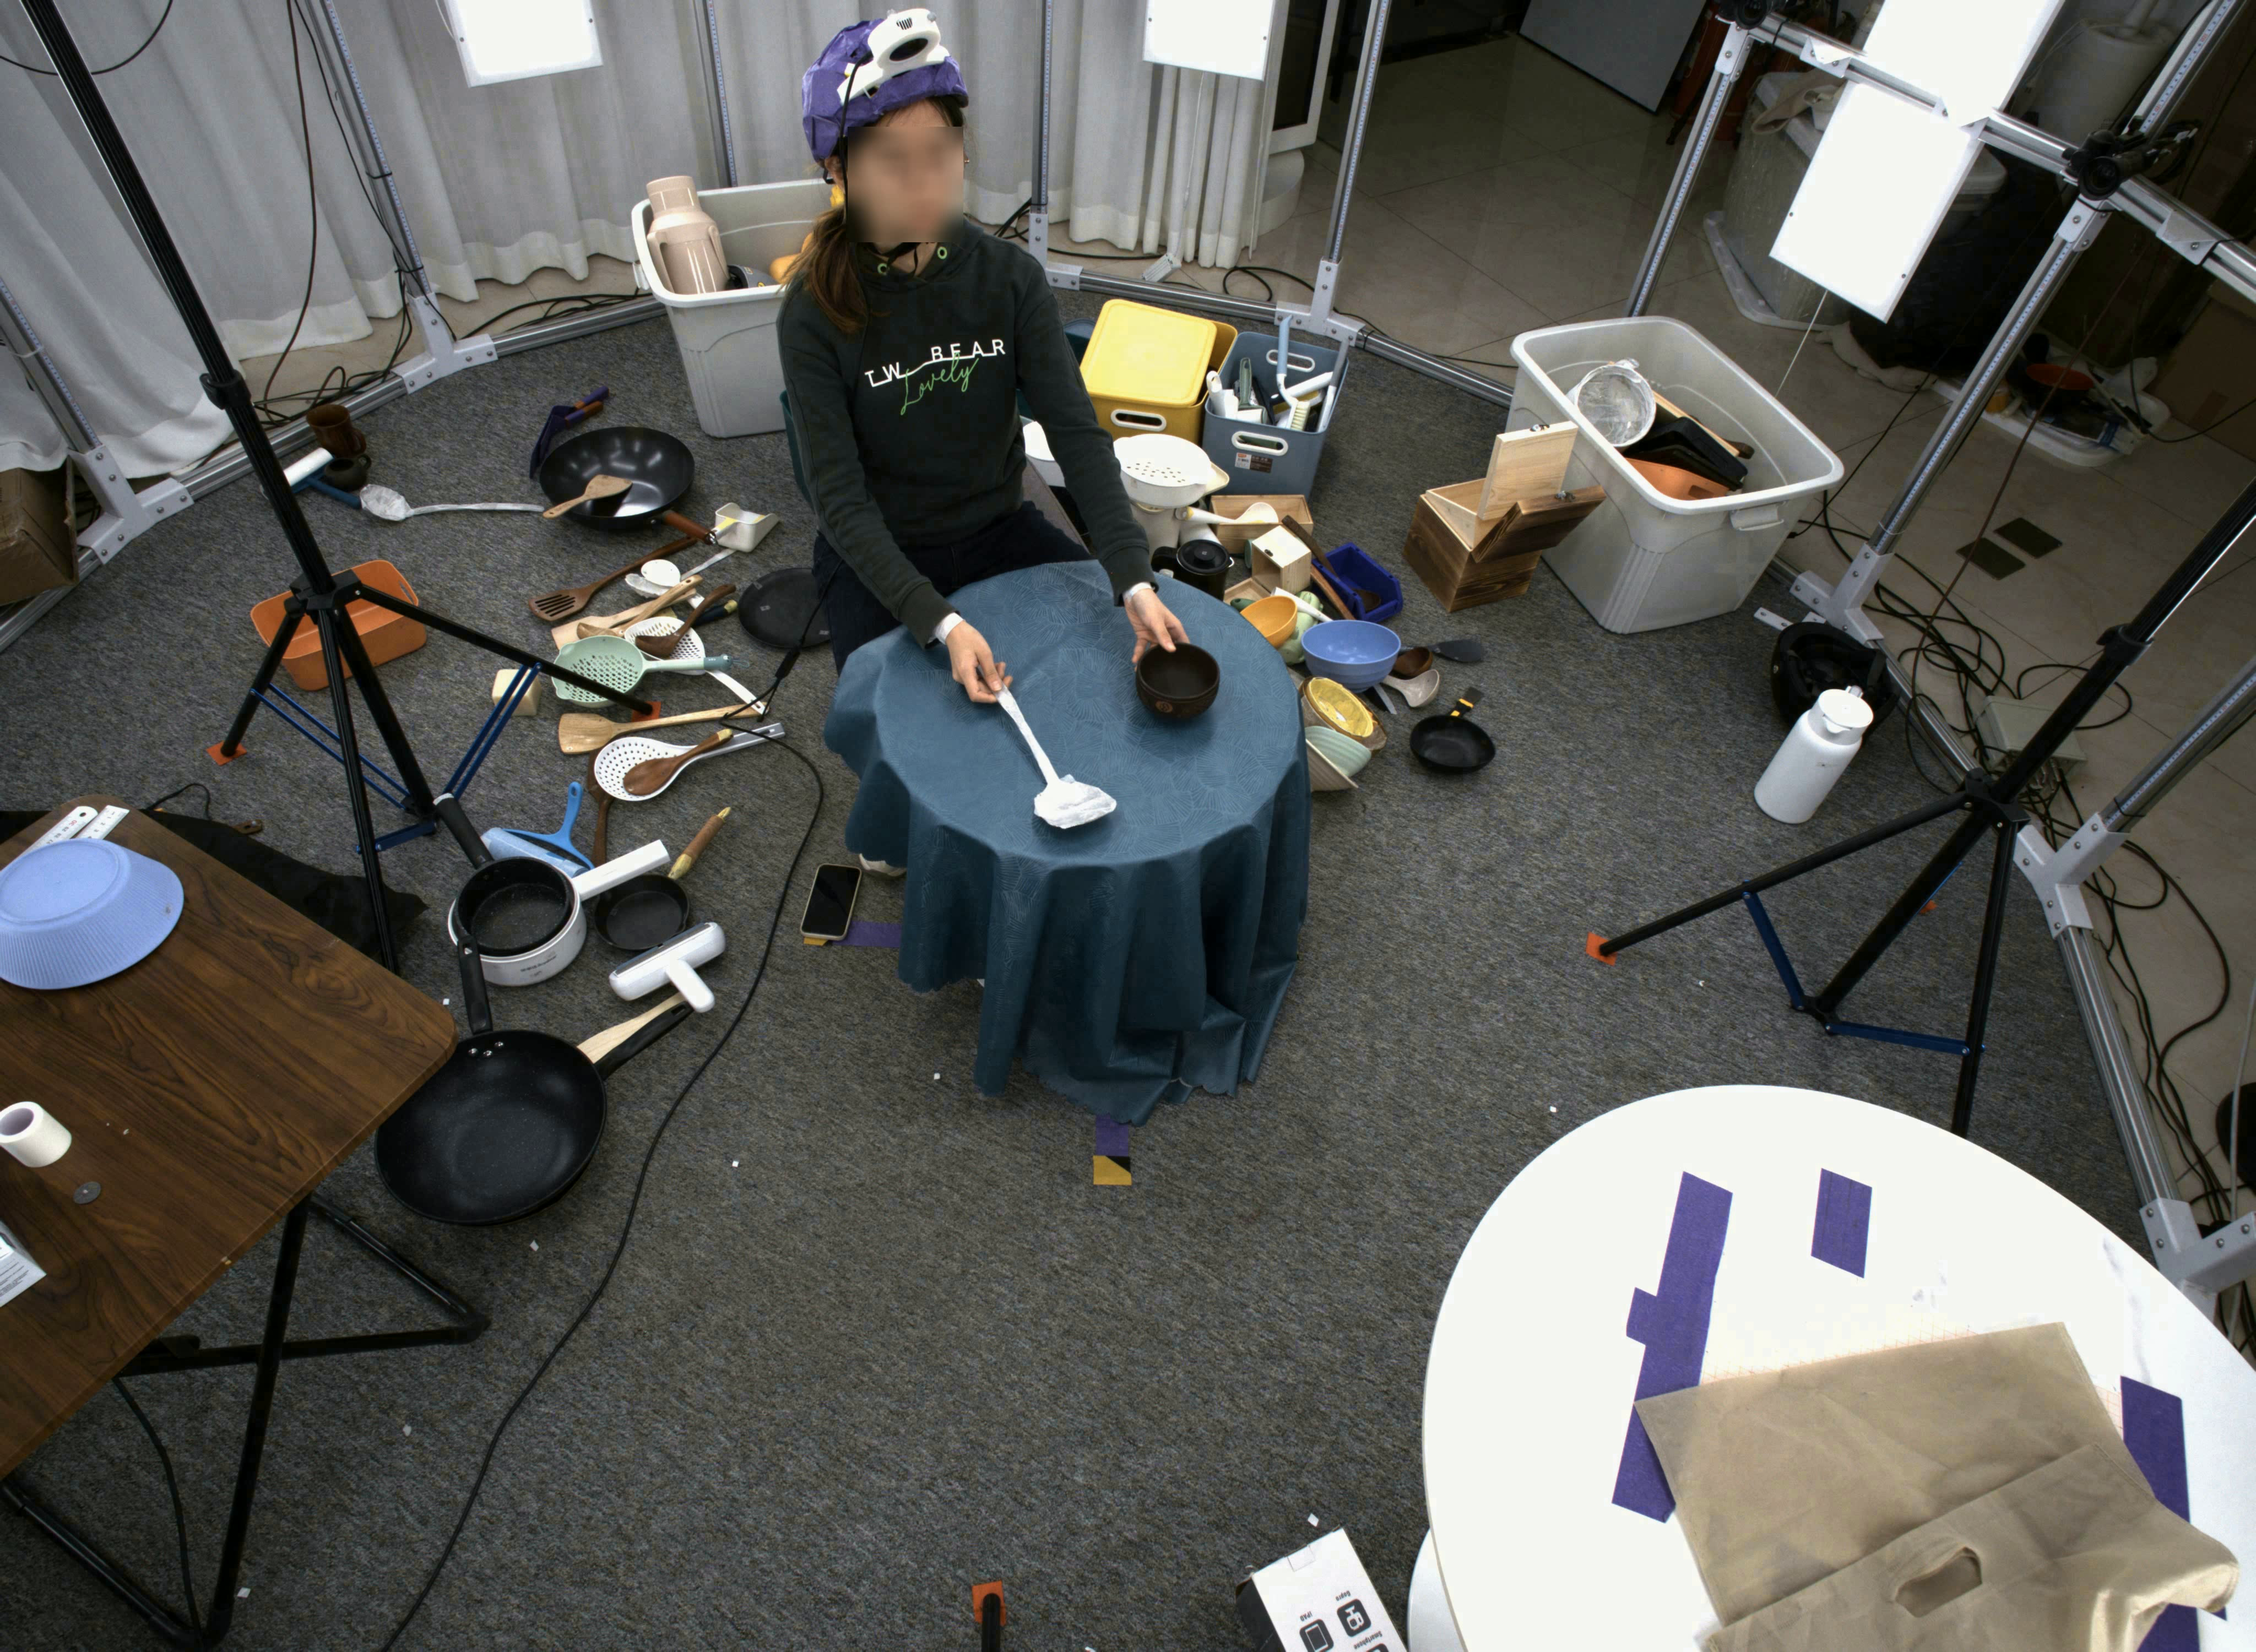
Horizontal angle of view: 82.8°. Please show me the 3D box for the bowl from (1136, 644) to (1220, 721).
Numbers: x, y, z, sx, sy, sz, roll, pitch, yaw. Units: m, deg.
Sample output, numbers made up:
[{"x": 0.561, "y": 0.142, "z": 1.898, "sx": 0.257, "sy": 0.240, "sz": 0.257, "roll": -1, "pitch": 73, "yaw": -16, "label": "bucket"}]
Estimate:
[{"x": 0.068, "y": -0.195, "z": 1.813, "sx": 0.118, "sy": 0.068, "sz": 0.121, "roll": 2, "pitch": 47, "yaw": -3, "label": "bowl"}]

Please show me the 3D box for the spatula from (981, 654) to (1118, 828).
[{"x": -0.130, "y": -0.126, "z": 1.754, "sx": 0.099, "sy": 0.044, "sz": 0.373, "roll": -19, "pitch": 55, "yaw": -19, "label": "spatula"}]
